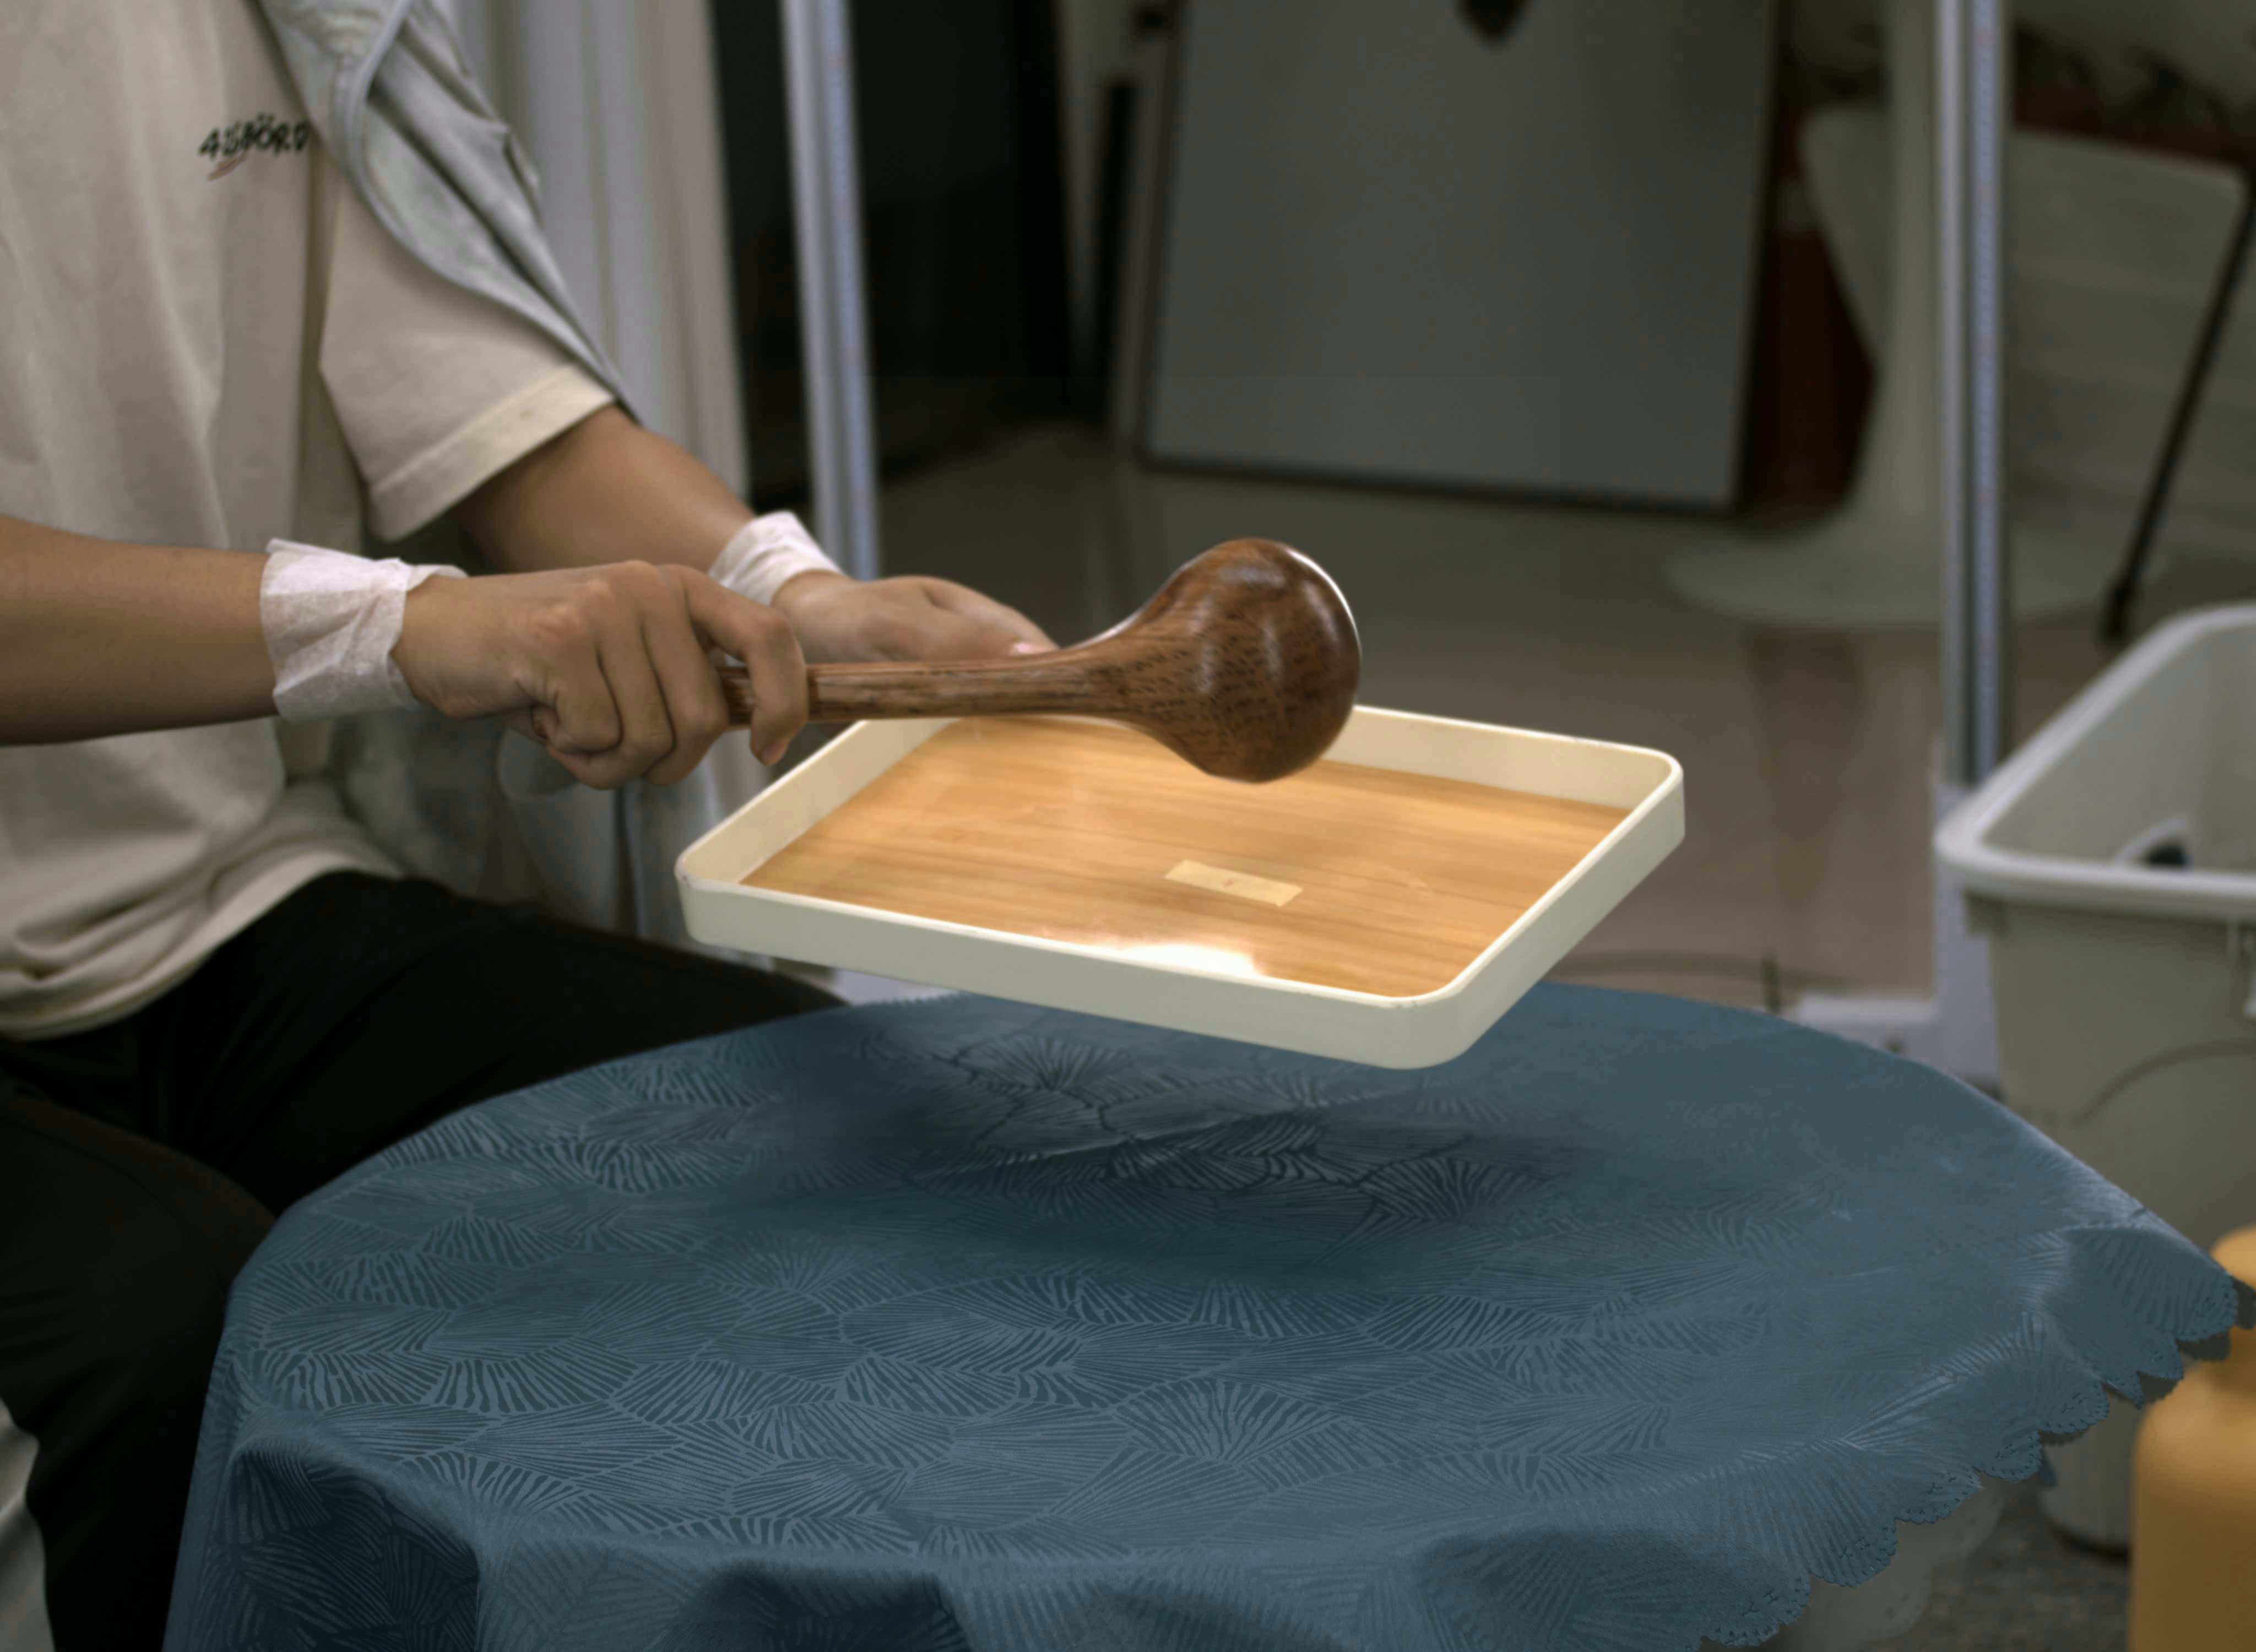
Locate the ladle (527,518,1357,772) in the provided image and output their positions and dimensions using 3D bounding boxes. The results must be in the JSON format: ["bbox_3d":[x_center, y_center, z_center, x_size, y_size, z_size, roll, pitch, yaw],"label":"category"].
[{"bbox_3d":[-0.060,-0.051,1.784,0.273,0.083,0.076,-5,1,17],"label":"ladle"}]

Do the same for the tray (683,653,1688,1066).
[{"bbox_3d":[0.019,0.007,1.798,0.302,0.027,0.189,9,30,32],"label":"tray"}]
